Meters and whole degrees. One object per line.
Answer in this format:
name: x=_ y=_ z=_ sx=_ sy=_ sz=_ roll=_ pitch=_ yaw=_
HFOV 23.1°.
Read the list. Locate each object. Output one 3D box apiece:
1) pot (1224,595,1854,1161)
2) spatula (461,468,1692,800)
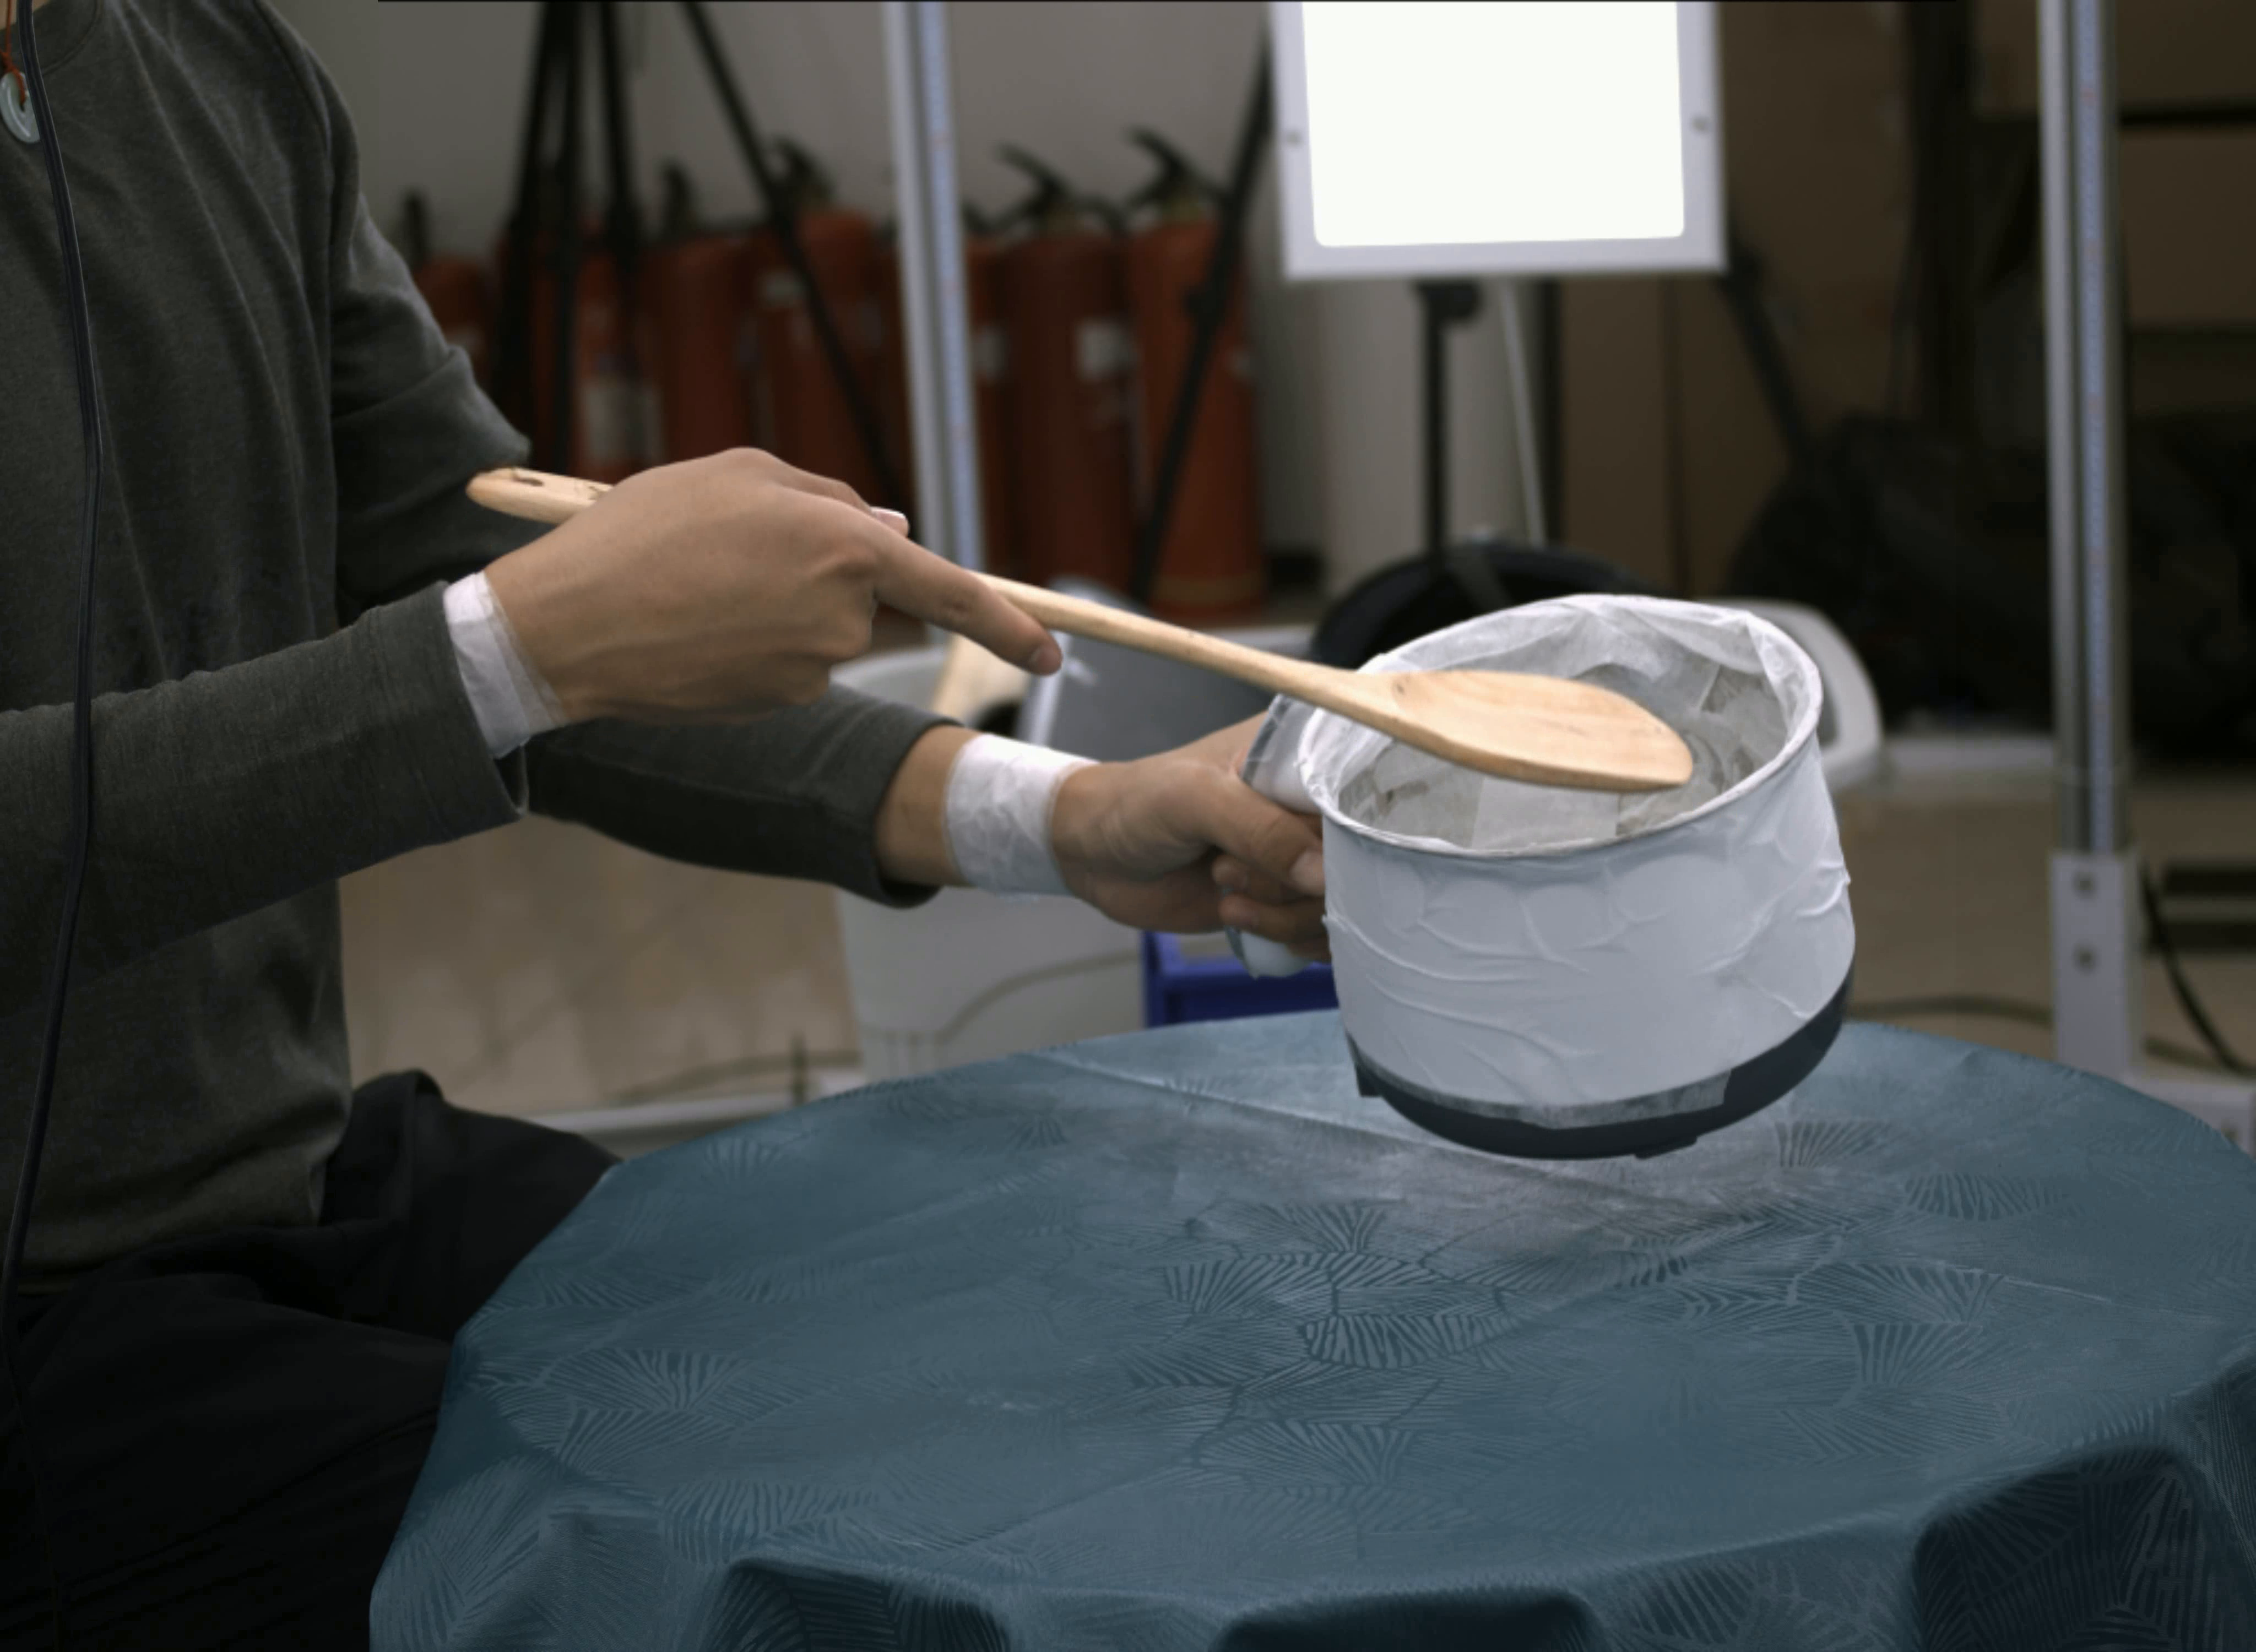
pot: x=0.131 y=0.016 z=1.867 sx=0.238 sy=0.137 sz=0.175 roll=8 pitch=34 yaw=34
spatula: x=-0.014 y=-0.060 z=1.690 sx=0.387 sy=0.018 sz=0.096 roll=14 pitch=16 yaw=-7
